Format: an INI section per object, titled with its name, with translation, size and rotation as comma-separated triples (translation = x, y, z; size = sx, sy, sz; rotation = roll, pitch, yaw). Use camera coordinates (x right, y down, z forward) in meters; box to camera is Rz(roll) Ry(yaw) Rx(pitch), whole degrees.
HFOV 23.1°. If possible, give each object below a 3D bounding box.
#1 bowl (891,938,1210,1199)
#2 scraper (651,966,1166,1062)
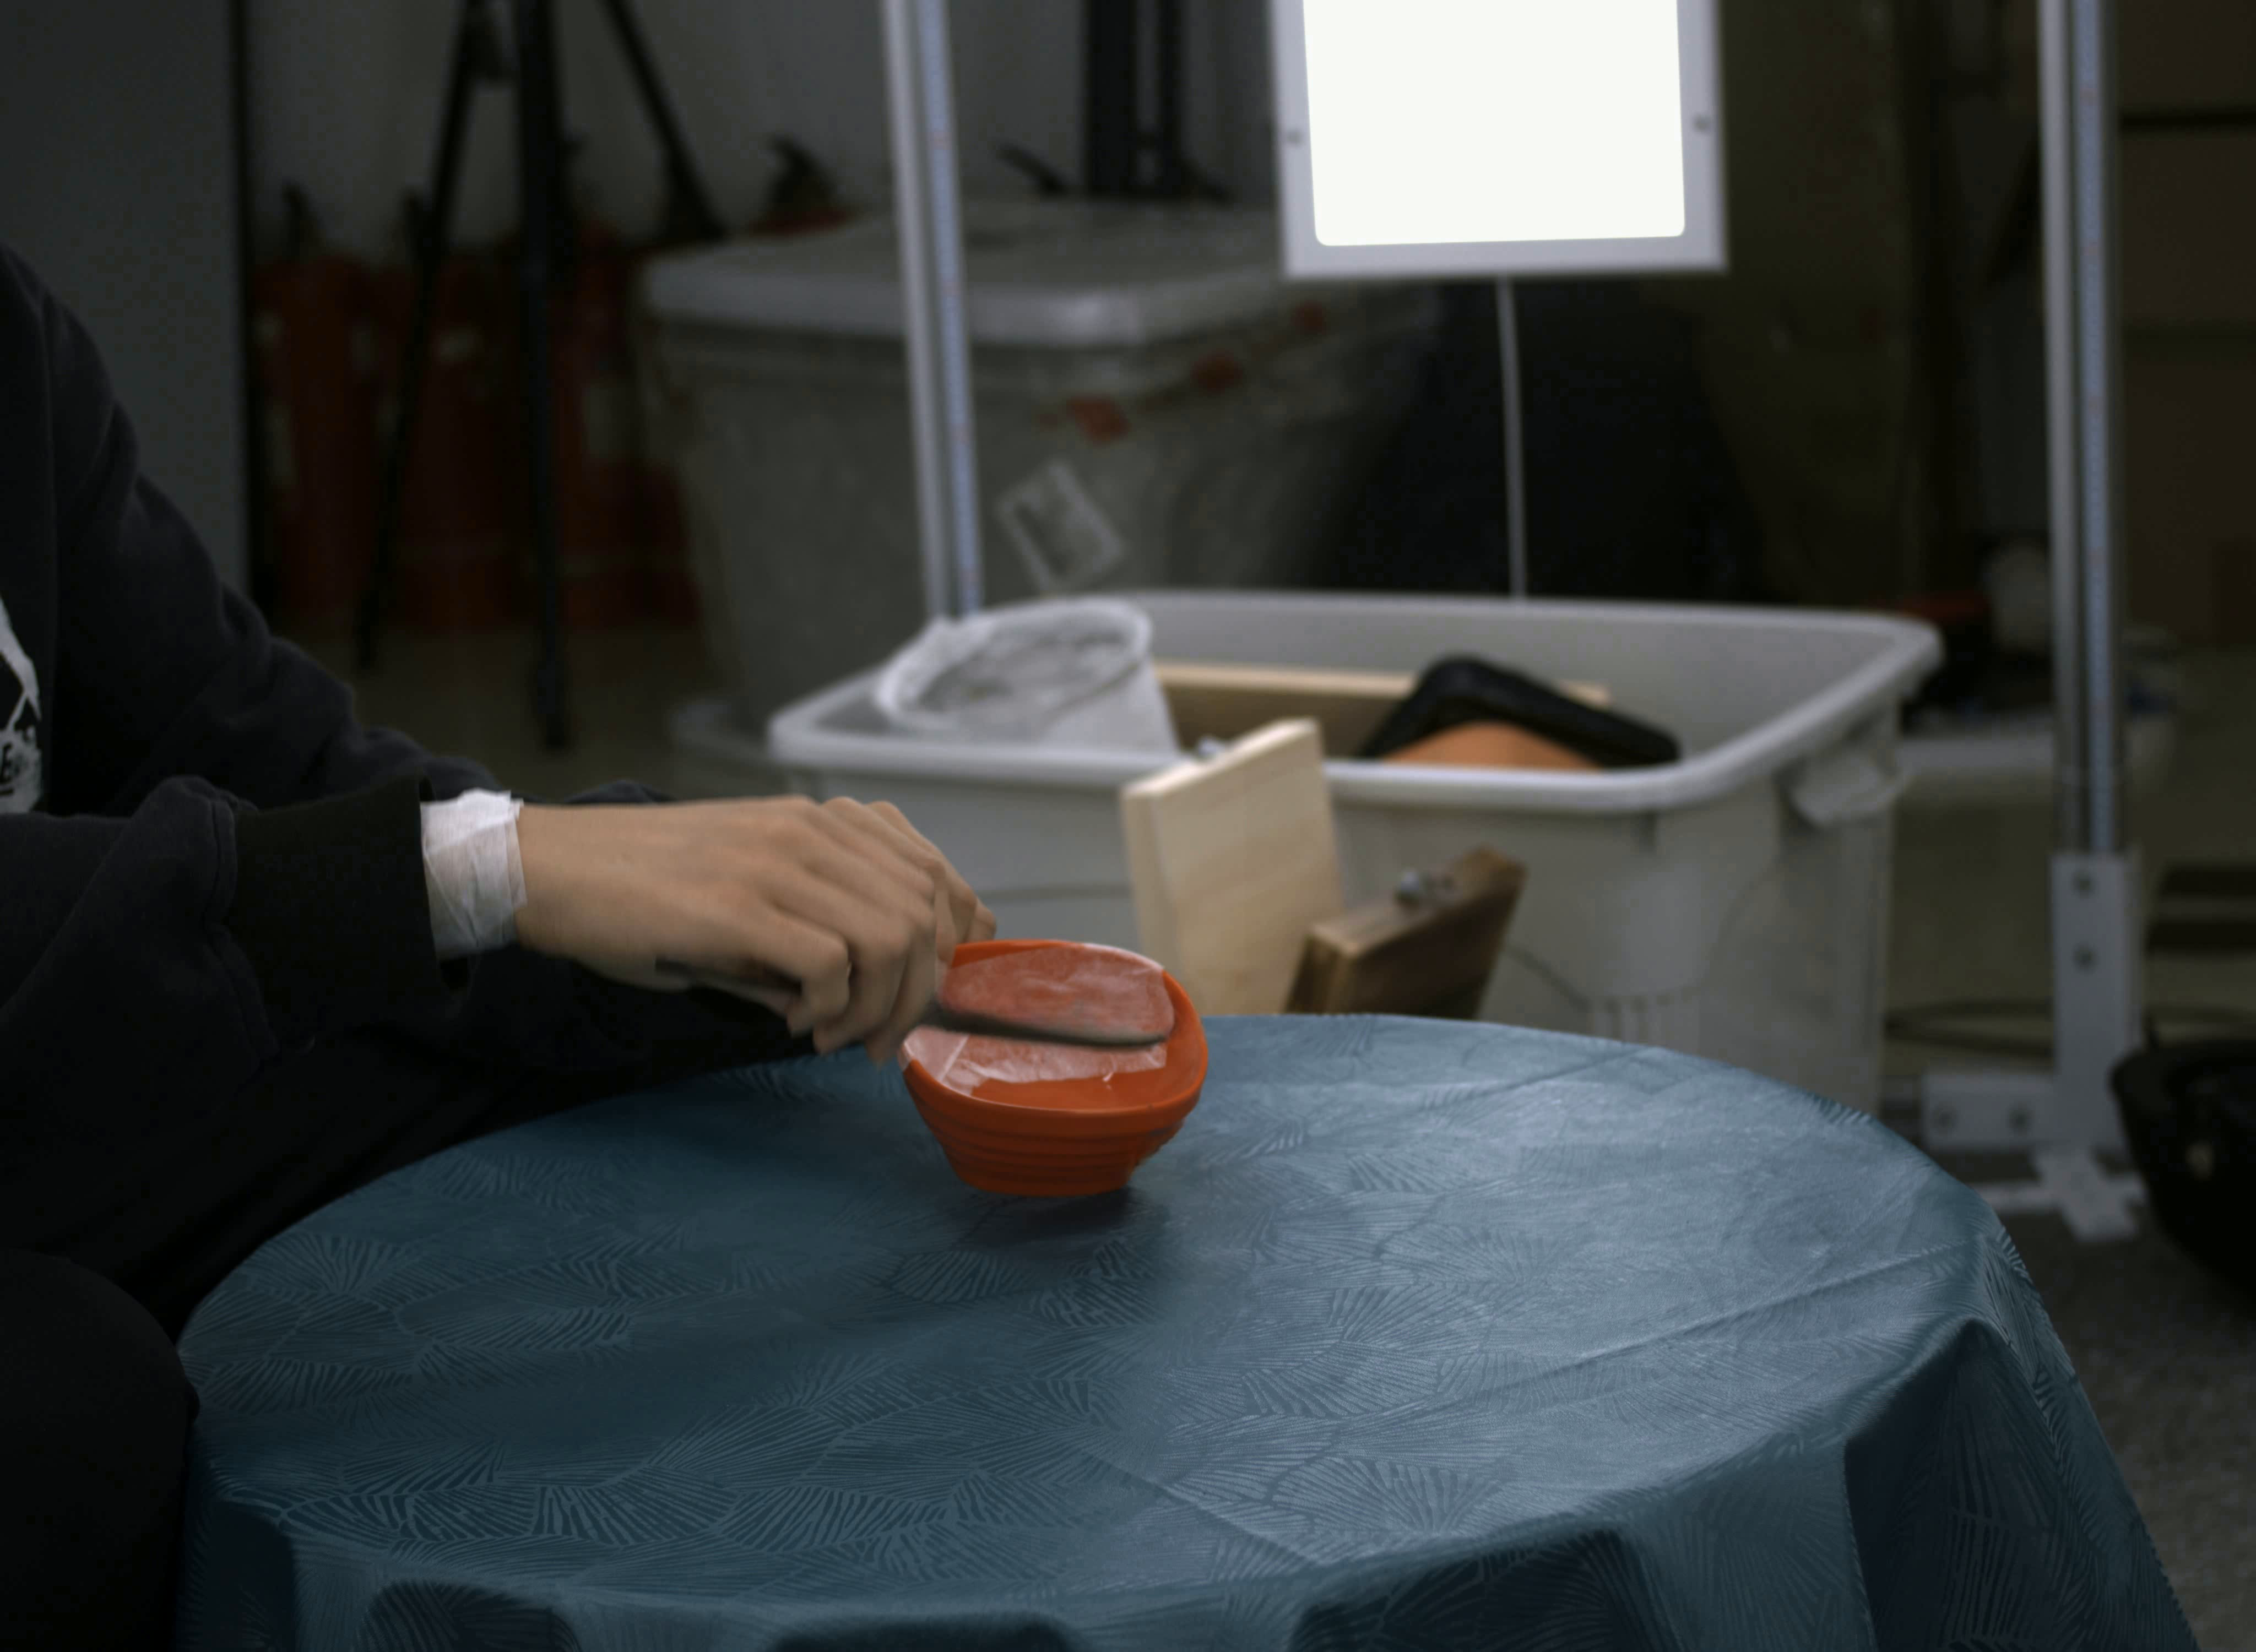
[bowl]
translation = -0.030, 0.089, 1.911
size = 0.118, 0.052, 0.118
rotation = 5, 32, -4
[scraper]
translation = -0.075, 0.061, 1.765
size = 0.077, 0.011, 0.206
rotation = 6, -5, 40
